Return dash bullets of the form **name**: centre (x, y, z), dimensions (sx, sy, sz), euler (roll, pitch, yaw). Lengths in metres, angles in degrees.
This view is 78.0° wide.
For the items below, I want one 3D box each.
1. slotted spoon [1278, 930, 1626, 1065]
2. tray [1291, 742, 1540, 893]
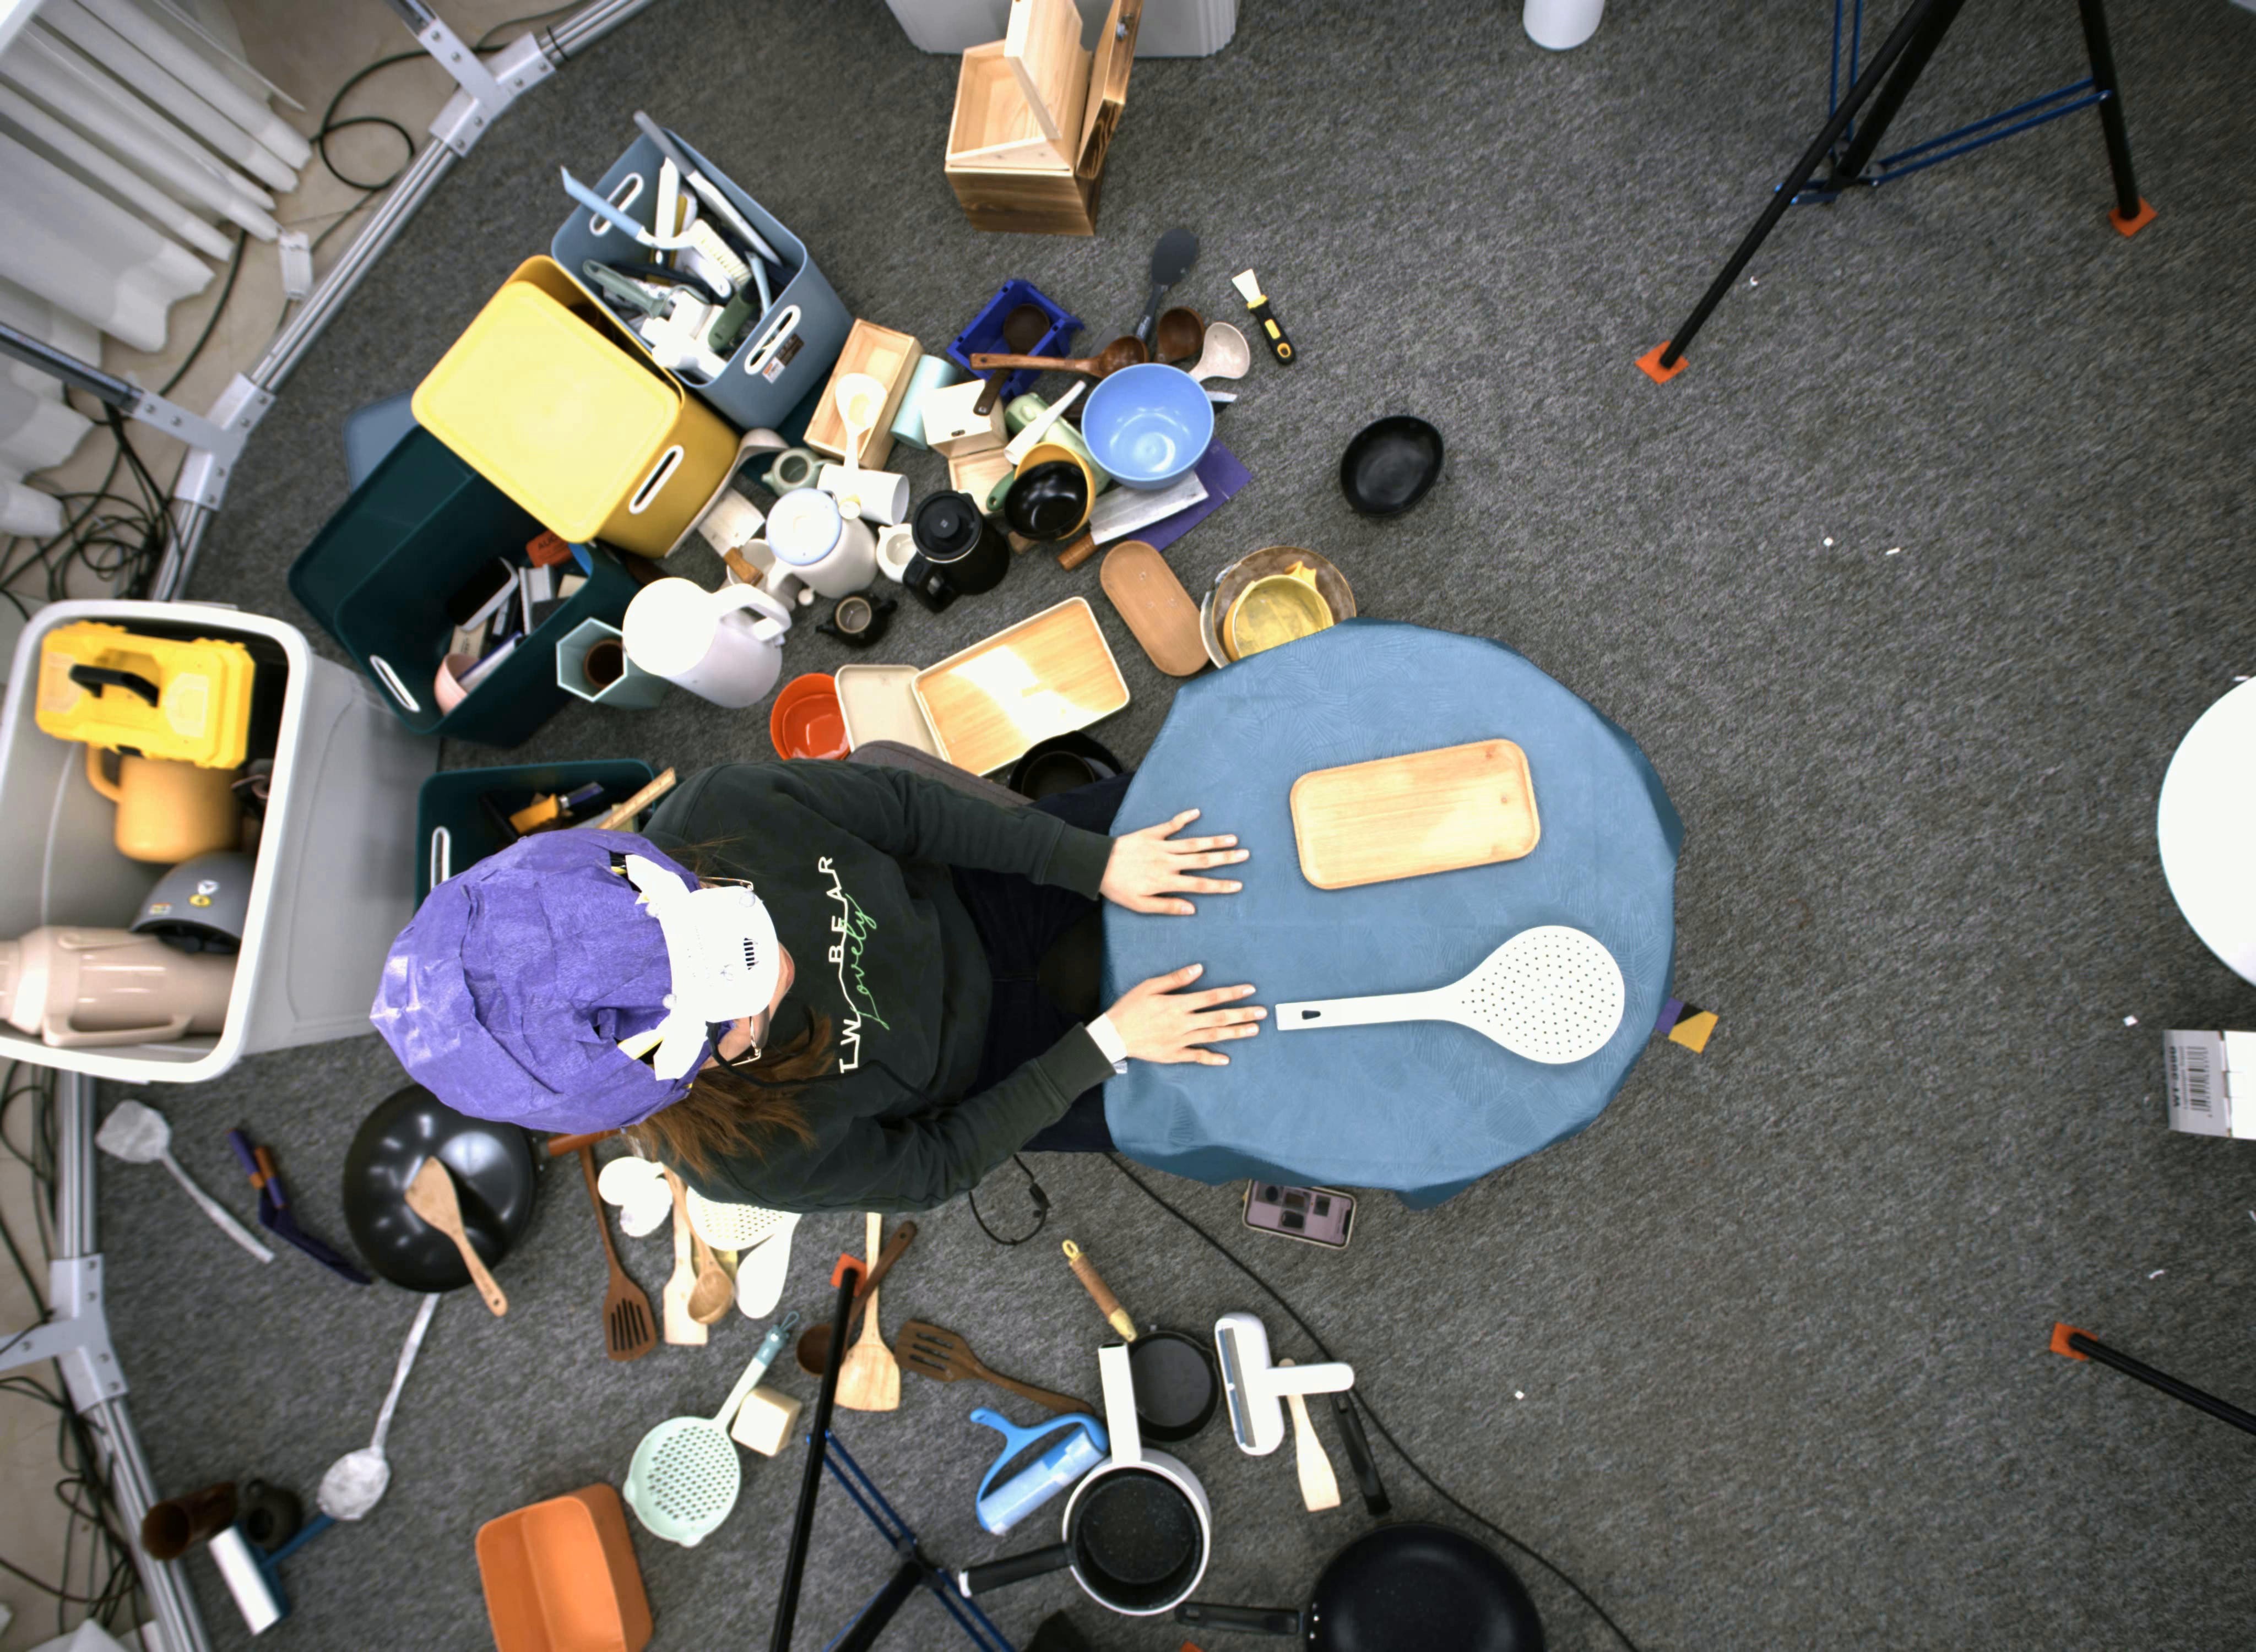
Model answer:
- **slotted spoon**: centre (0.328, 0.184, 1.423), dimensions (0.351, 0.046, 0.135), euler (-6, 83, 11)
- **tray**: centre (0.302, -0.010, 1.456), dimensions (0.252, 0.023, 0.129), euler (-10, 83, 10)
